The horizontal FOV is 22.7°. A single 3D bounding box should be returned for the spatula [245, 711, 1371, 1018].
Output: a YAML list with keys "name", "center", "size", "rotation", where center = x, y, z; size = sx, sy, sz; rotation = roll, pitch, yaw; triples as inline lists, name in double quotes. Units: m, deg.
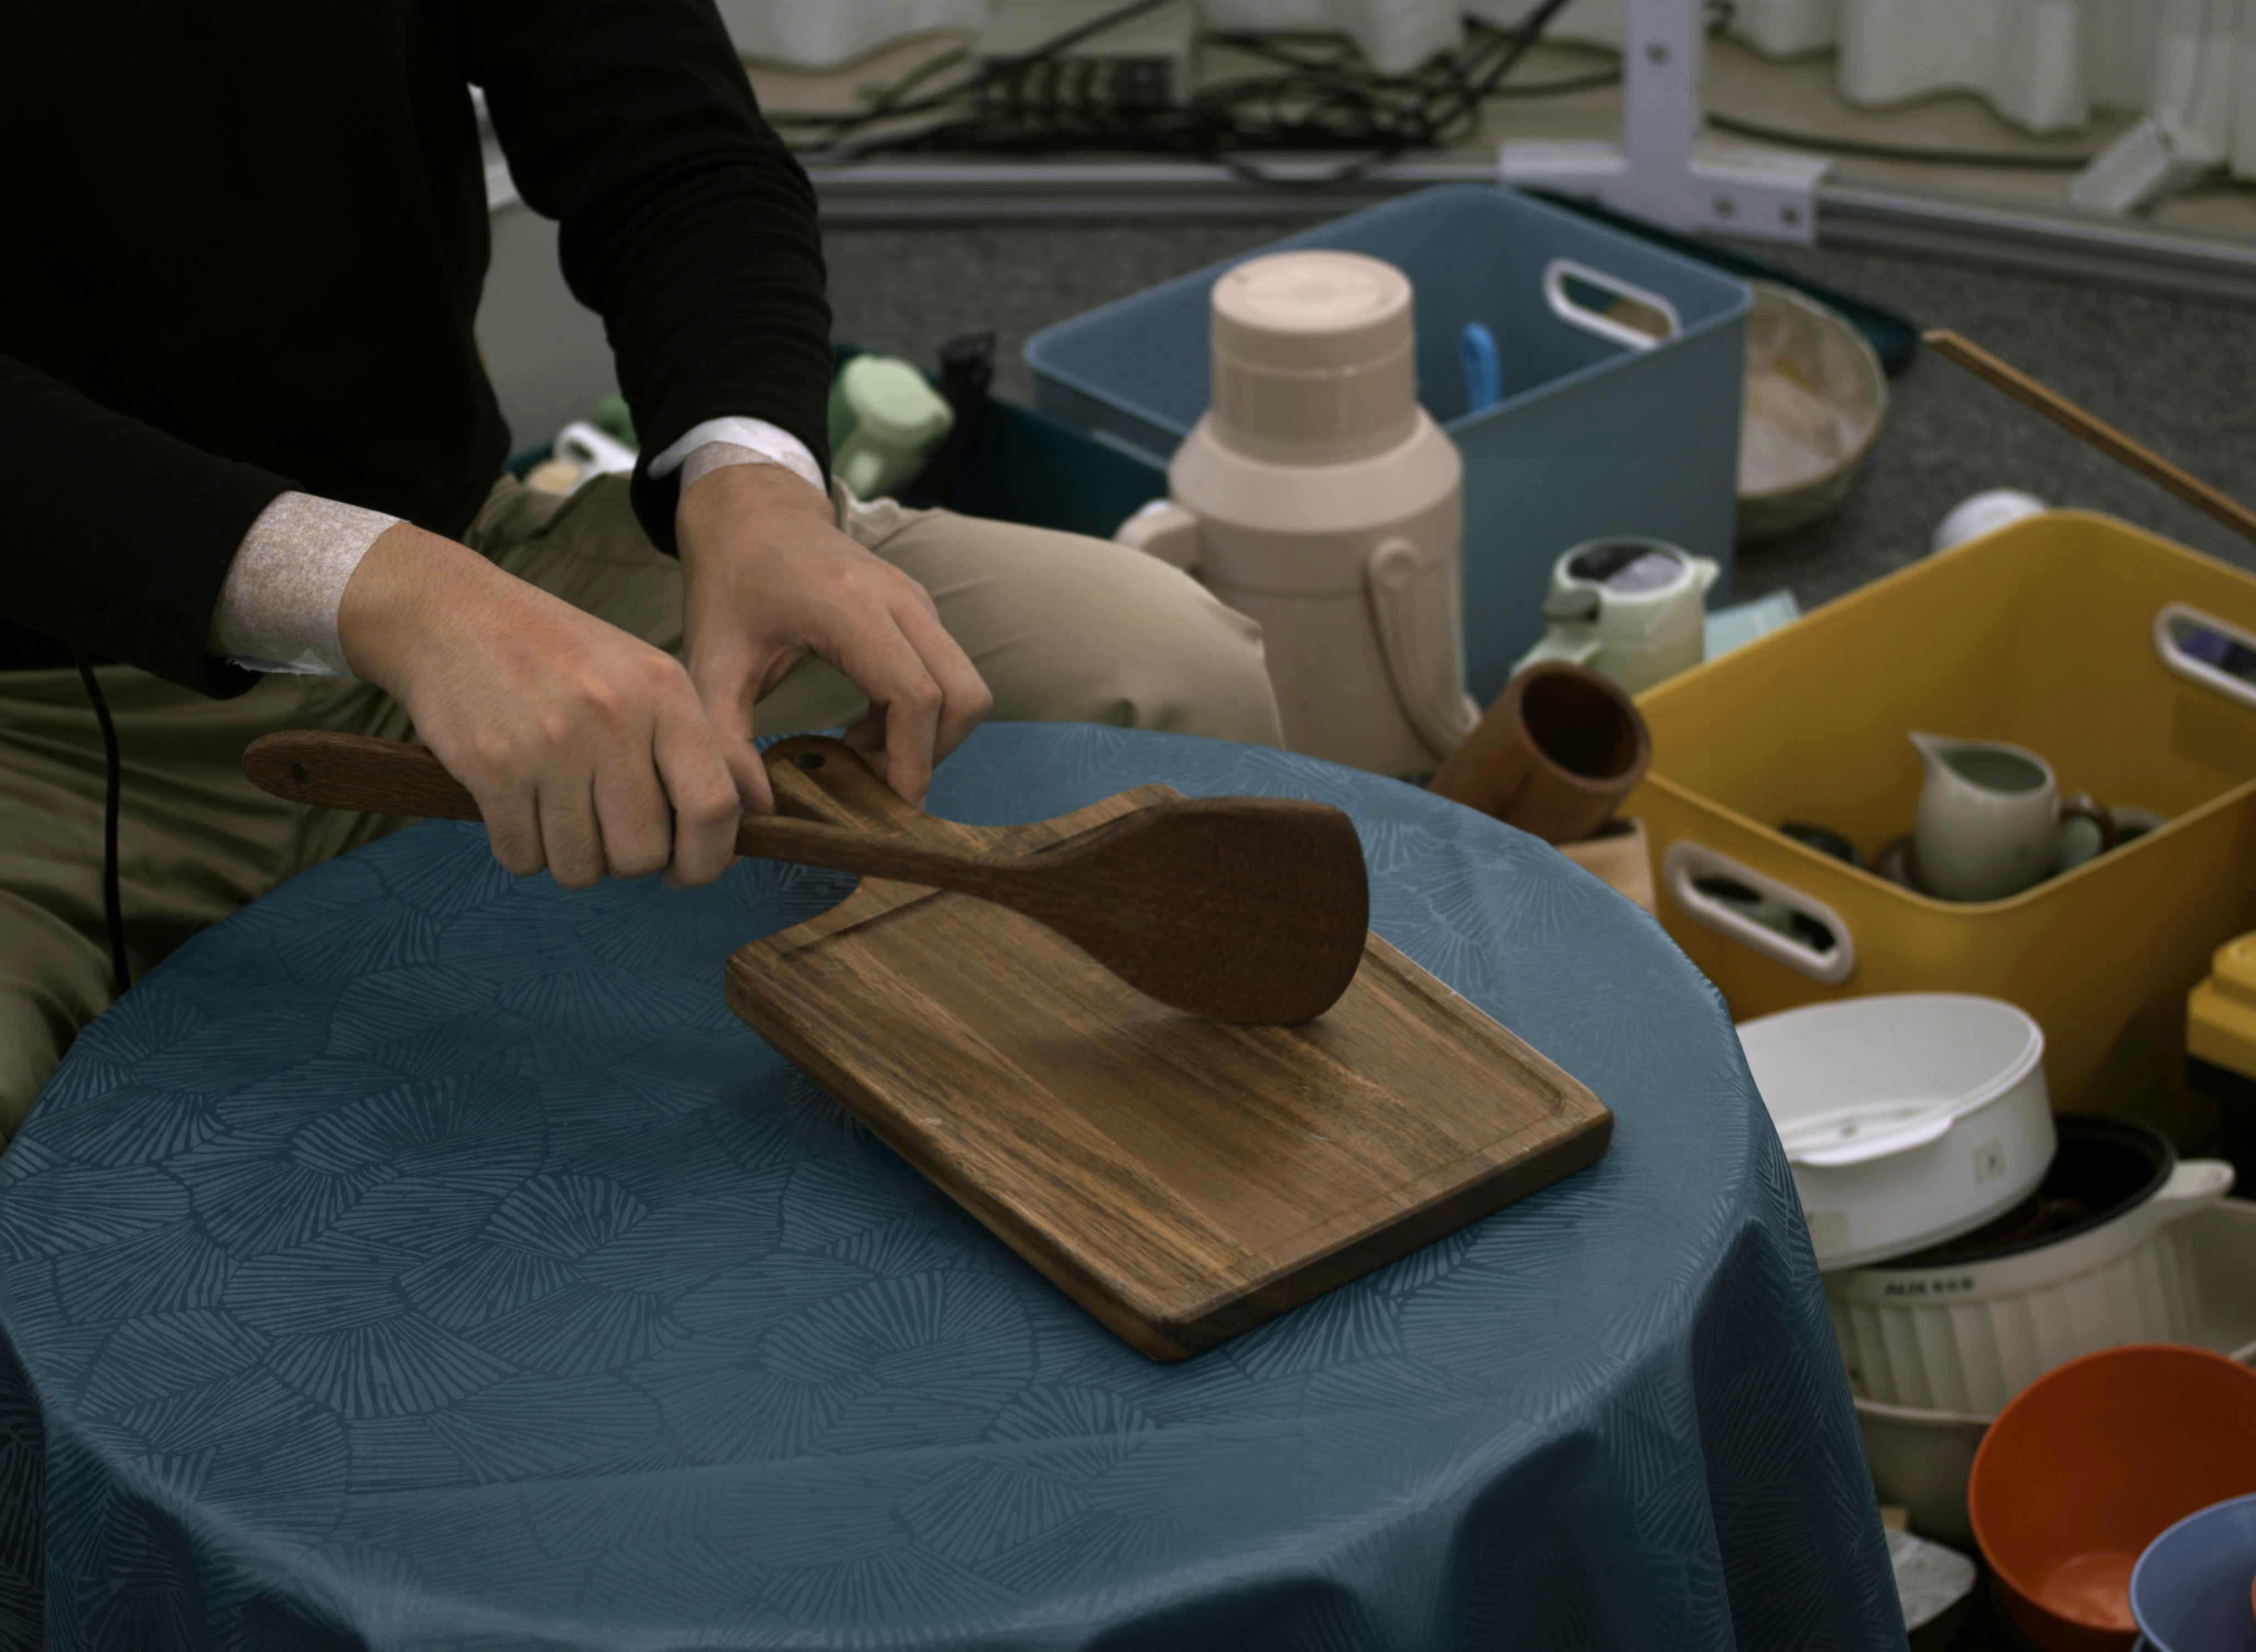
- name: "spatula"
  center: [-0.109, 0.002, 1.889]
  size: [0.384, 0.095, 0.016]
  rotation: [9, 35, 5]

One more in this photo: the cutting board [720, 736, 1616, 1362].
- name: "cutting board"
  center: [-0.019, 0.054, 1.925]
  size: [0.203, 0.023, 0.353]
  rotation: [-22, 40, -32]
